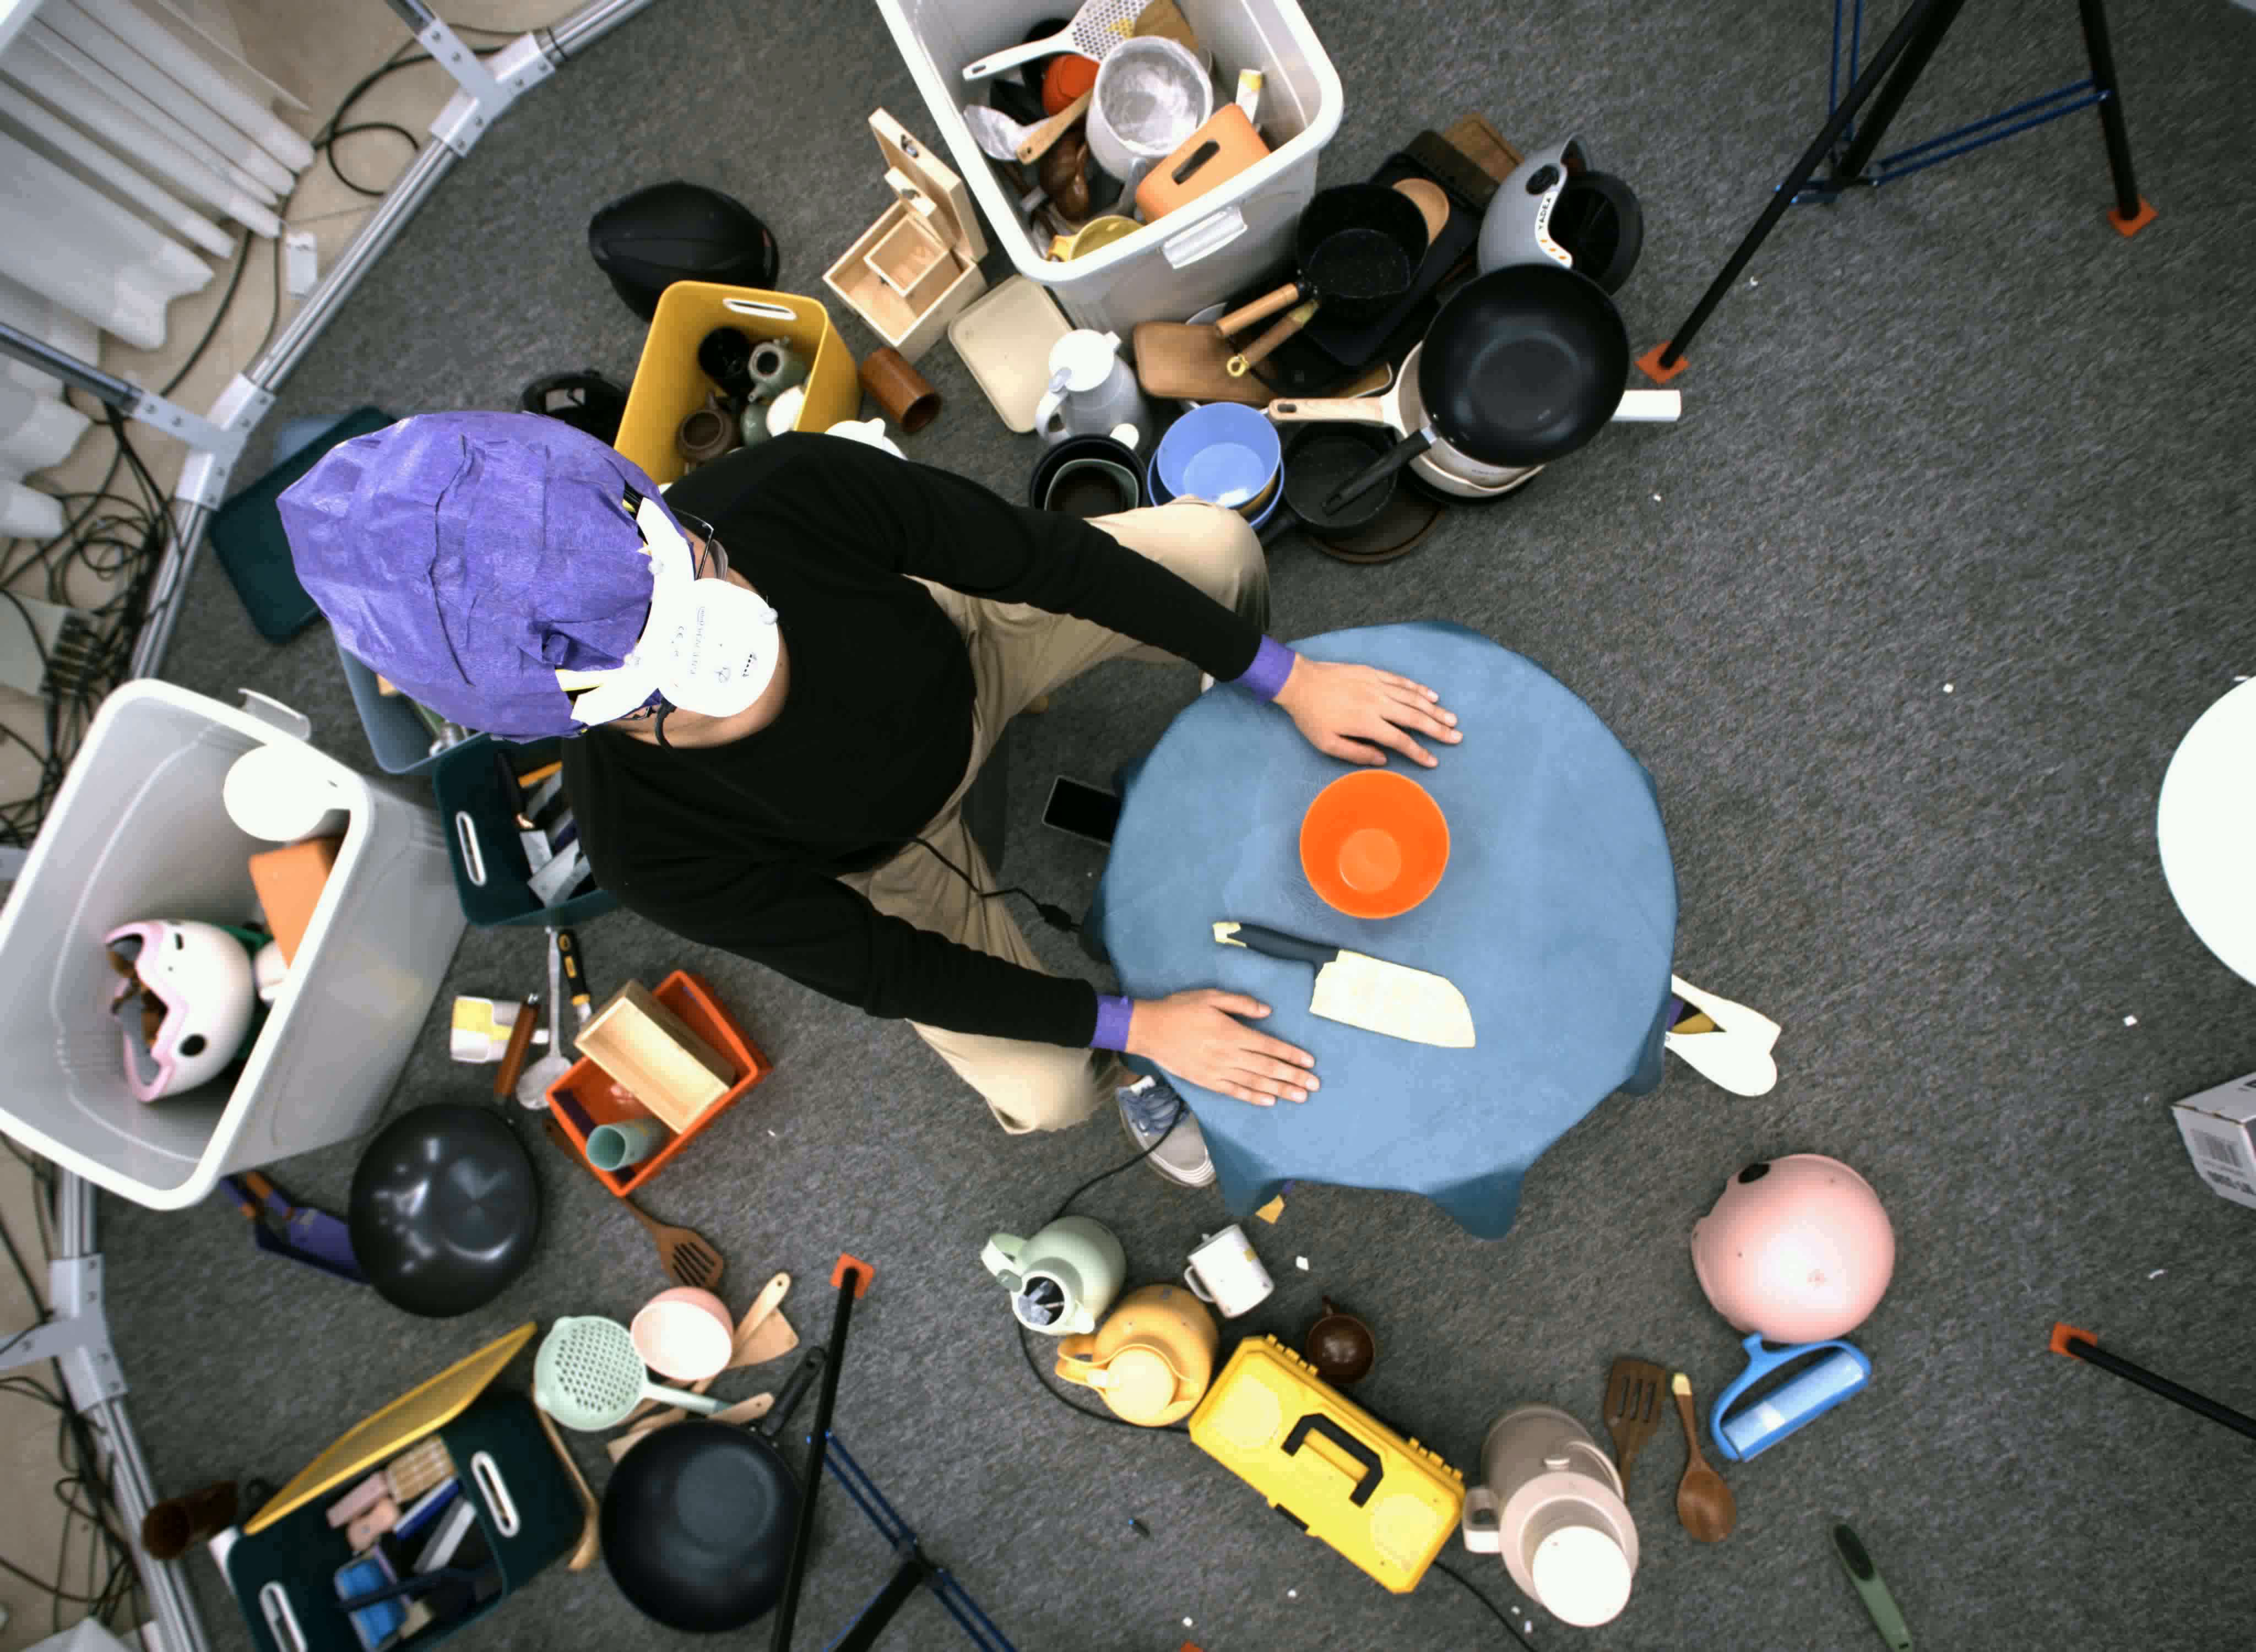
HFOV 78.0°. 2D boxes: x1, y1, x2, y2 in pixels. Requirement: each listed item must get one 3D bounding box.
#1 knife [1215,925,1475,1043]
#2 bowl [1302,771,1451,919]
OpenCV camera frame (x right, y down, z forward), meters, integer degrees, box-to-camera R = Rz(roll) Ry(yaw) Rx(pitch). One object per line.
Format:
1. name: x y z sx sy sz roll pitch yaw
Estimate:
1. knife: 0.225 0.163 1.458 0.289 0.027 0.081 18 89 10
2. bowl: 0.253 0.022 1.415 0.148 0.104 0.147 -1 87 9
